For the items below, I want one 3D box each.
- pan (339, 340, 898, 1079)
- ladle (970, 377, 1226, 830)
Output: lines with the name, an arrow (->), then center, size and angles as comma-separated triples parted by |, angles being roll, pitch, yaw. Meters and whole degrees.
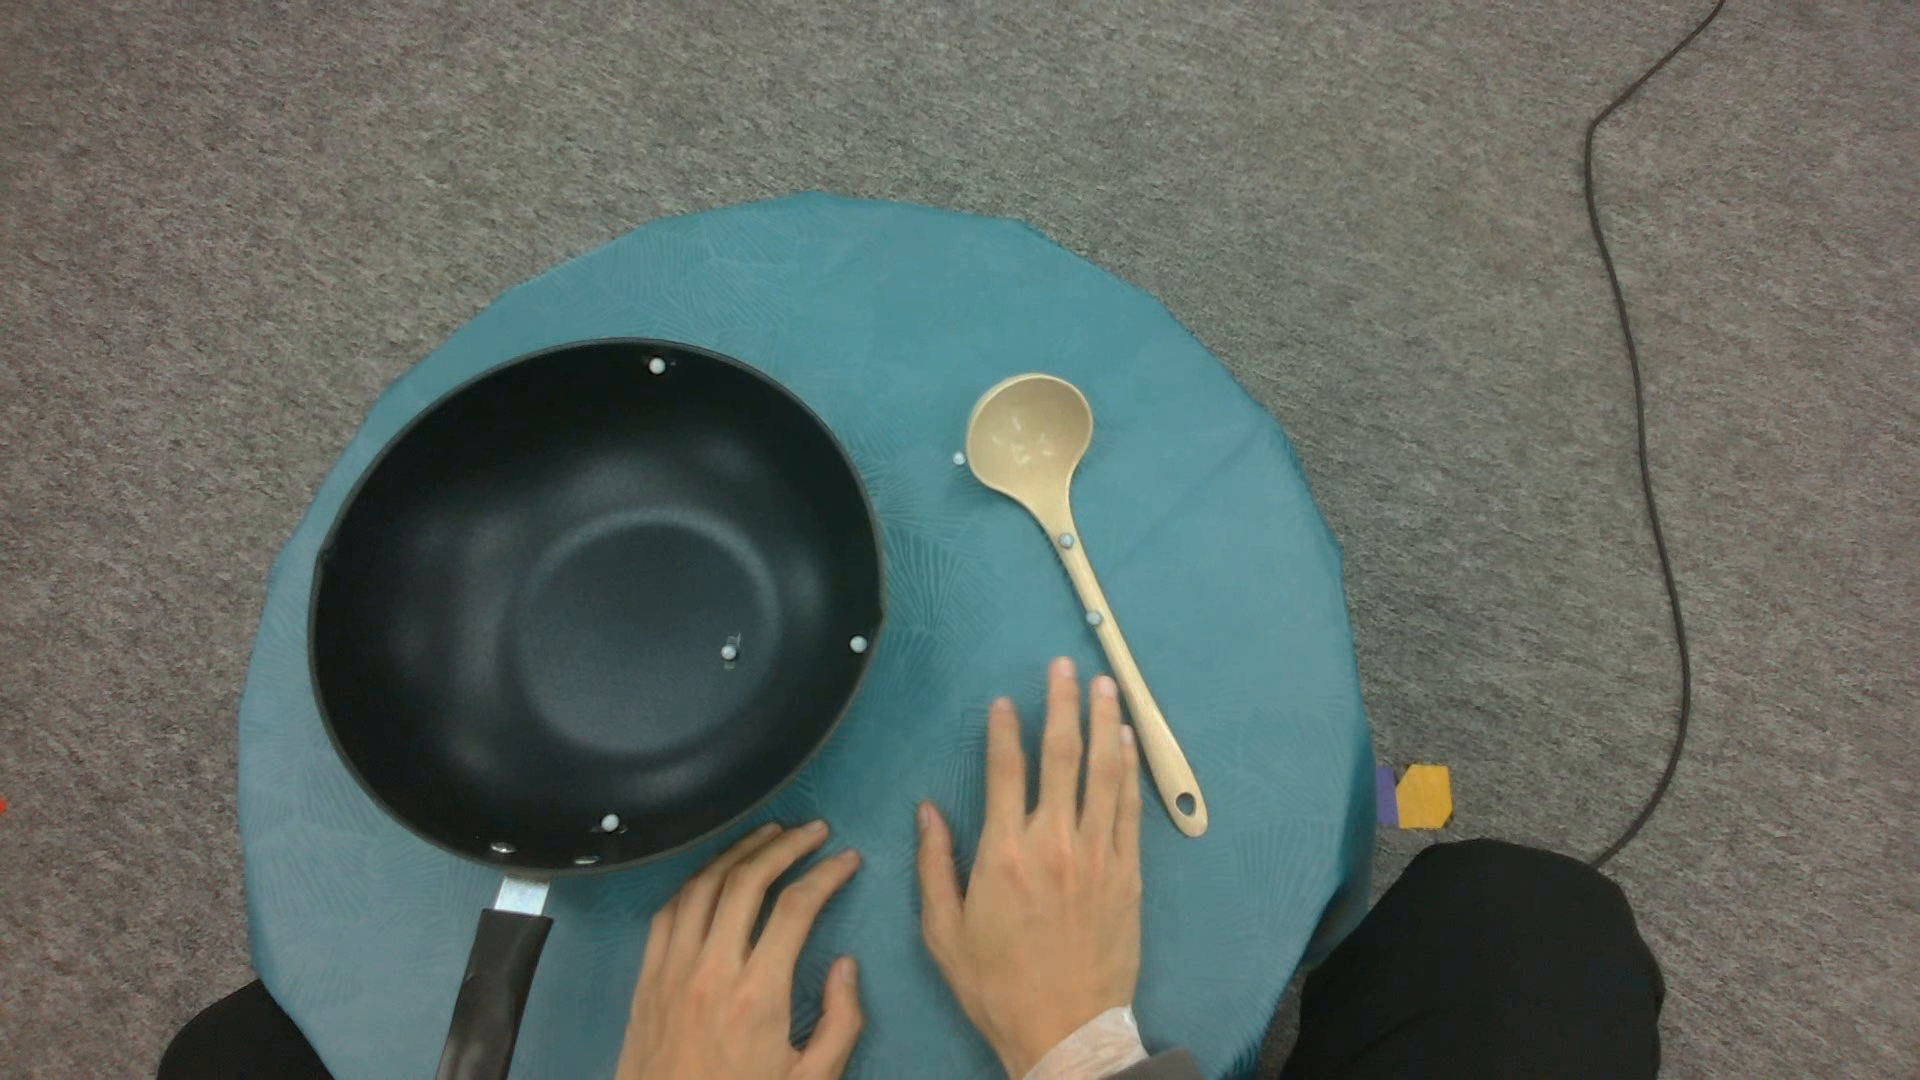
pan -> -0.184, 0.122, 0.693 | 0.288, 0.086, 0.465 | 7, 70, 6
ladle -> 0.080, 0.027, 0.719 | 0.072, 0.072, 0.255 | -22, 67, -8
